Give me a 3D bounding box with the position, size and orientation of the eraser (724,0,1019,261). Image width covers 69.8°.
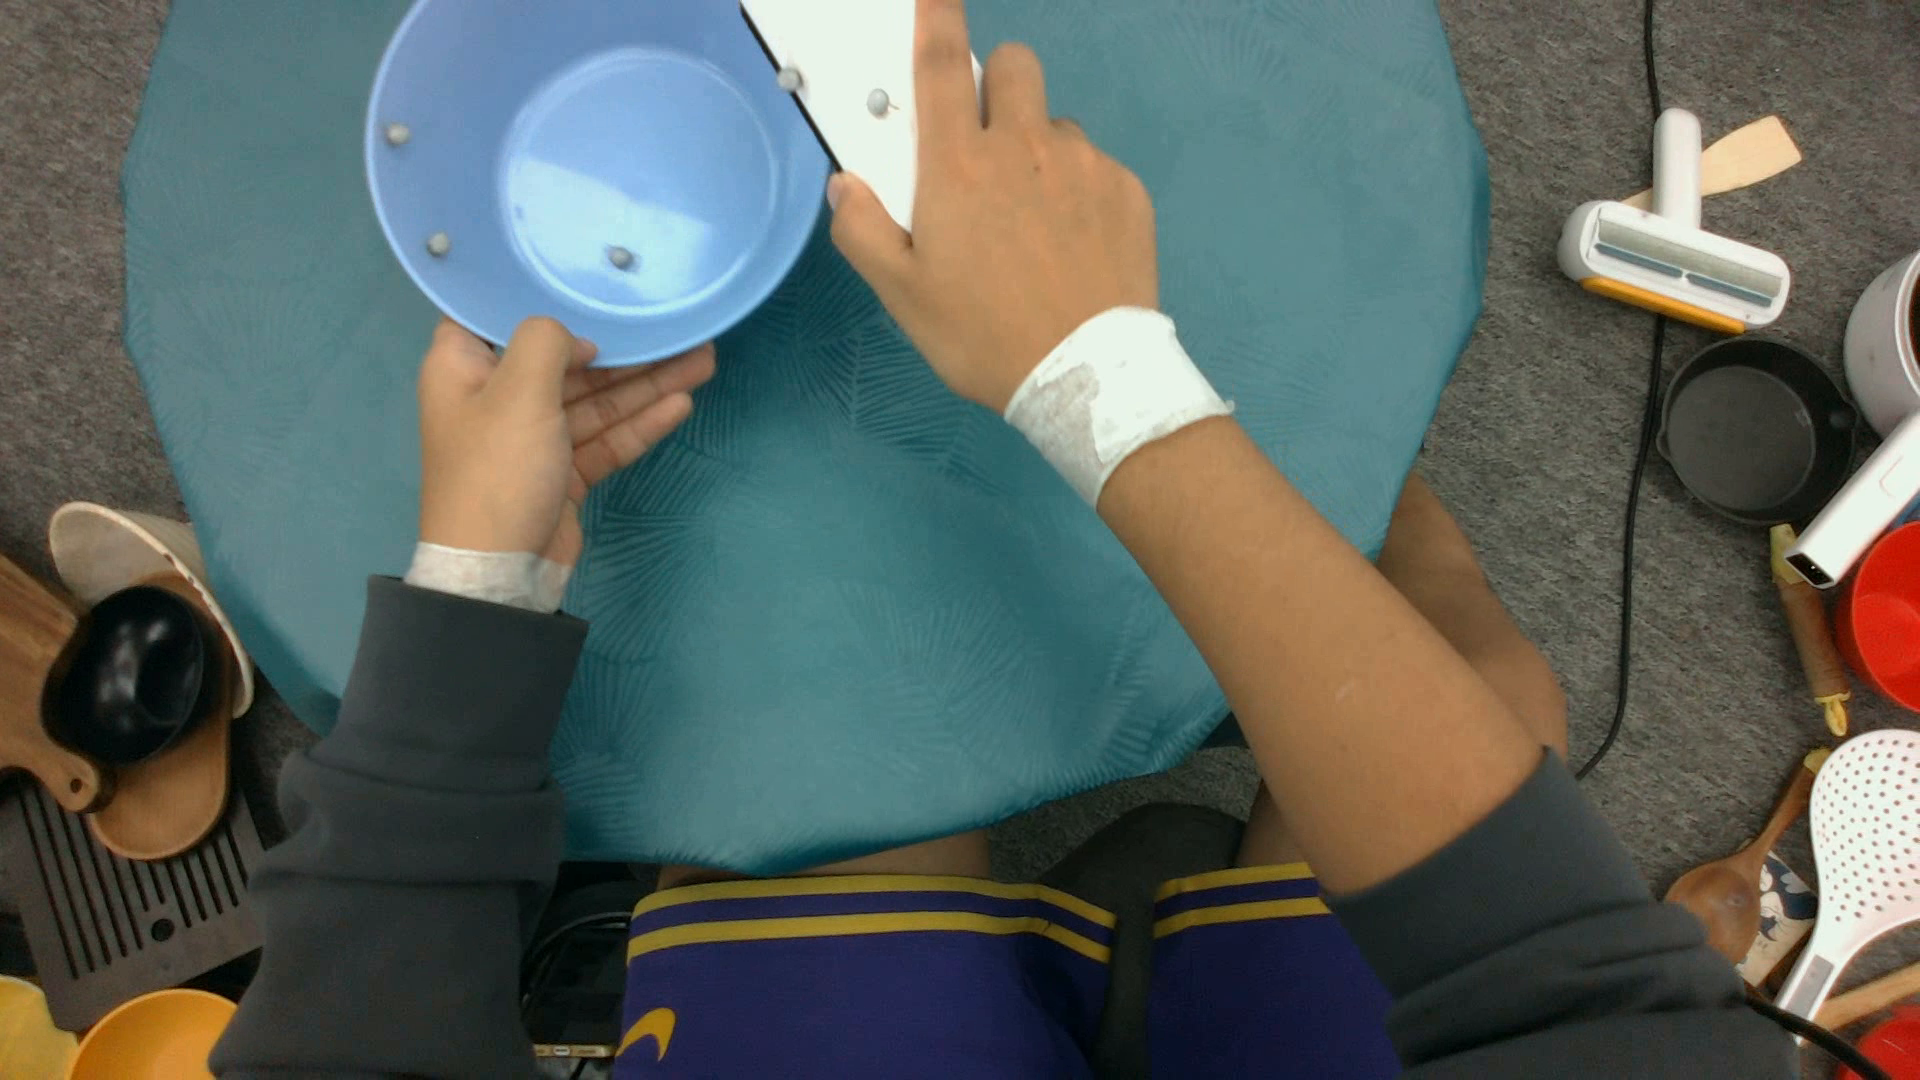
[{"bbox_3d":[-0.035,-0.164,0.499,0.063,0.034,0.131,-27,78,-23],"label":"eraser"}]

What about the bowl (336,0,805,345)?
[{"bbox_3d":[-0.146,-0.160,0.547,0.176,0.070,0.176,0,88,-1],"label":"bowl"}]
